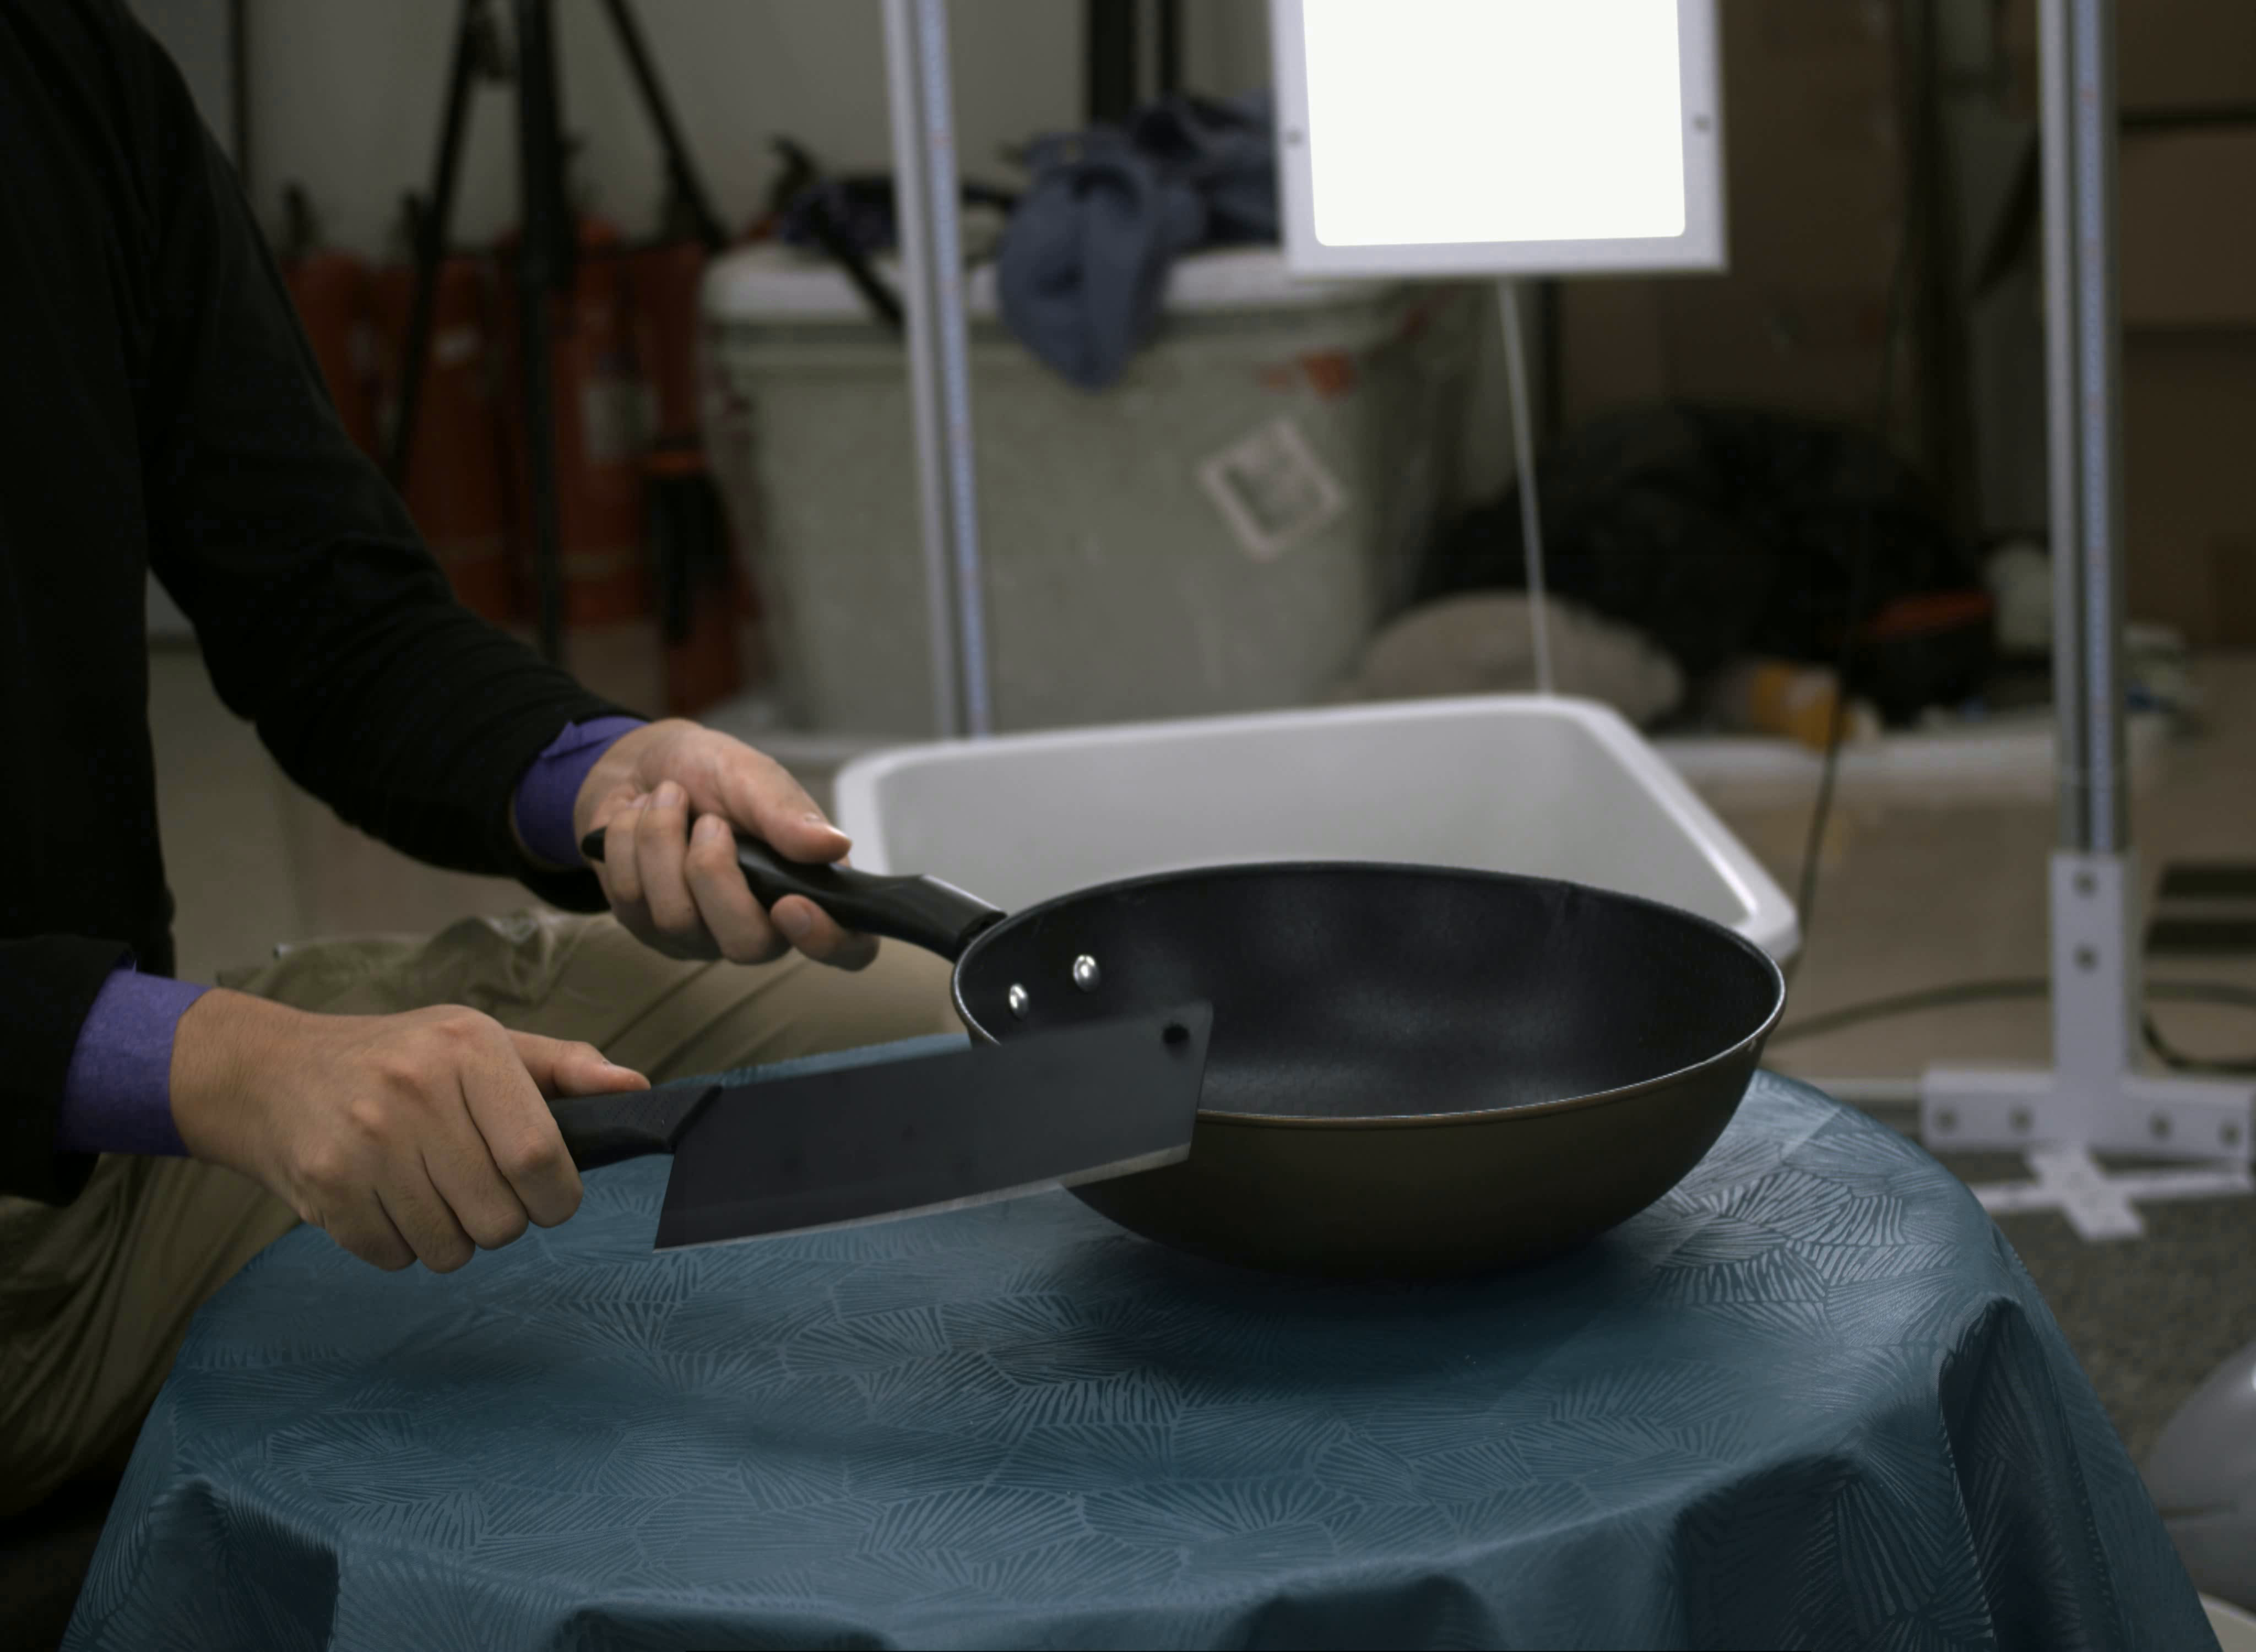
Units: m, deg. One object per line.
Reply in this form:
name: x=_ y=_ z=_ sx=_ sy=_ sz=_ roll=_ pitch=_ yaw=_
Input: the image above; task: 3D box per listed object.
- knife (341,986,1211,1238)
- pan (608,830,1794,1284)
knife: x=-0.113 y=0.097 z=1.718 sx=0.307 sy=0.020 sz=0.080 roll=-9 pitch=45 yaw=26
pan: x=0.005 y=0.074 z=1.883 sx=0.472 sy=0.087 sz=0.281 roll=10 pitch=19 yaw=33
